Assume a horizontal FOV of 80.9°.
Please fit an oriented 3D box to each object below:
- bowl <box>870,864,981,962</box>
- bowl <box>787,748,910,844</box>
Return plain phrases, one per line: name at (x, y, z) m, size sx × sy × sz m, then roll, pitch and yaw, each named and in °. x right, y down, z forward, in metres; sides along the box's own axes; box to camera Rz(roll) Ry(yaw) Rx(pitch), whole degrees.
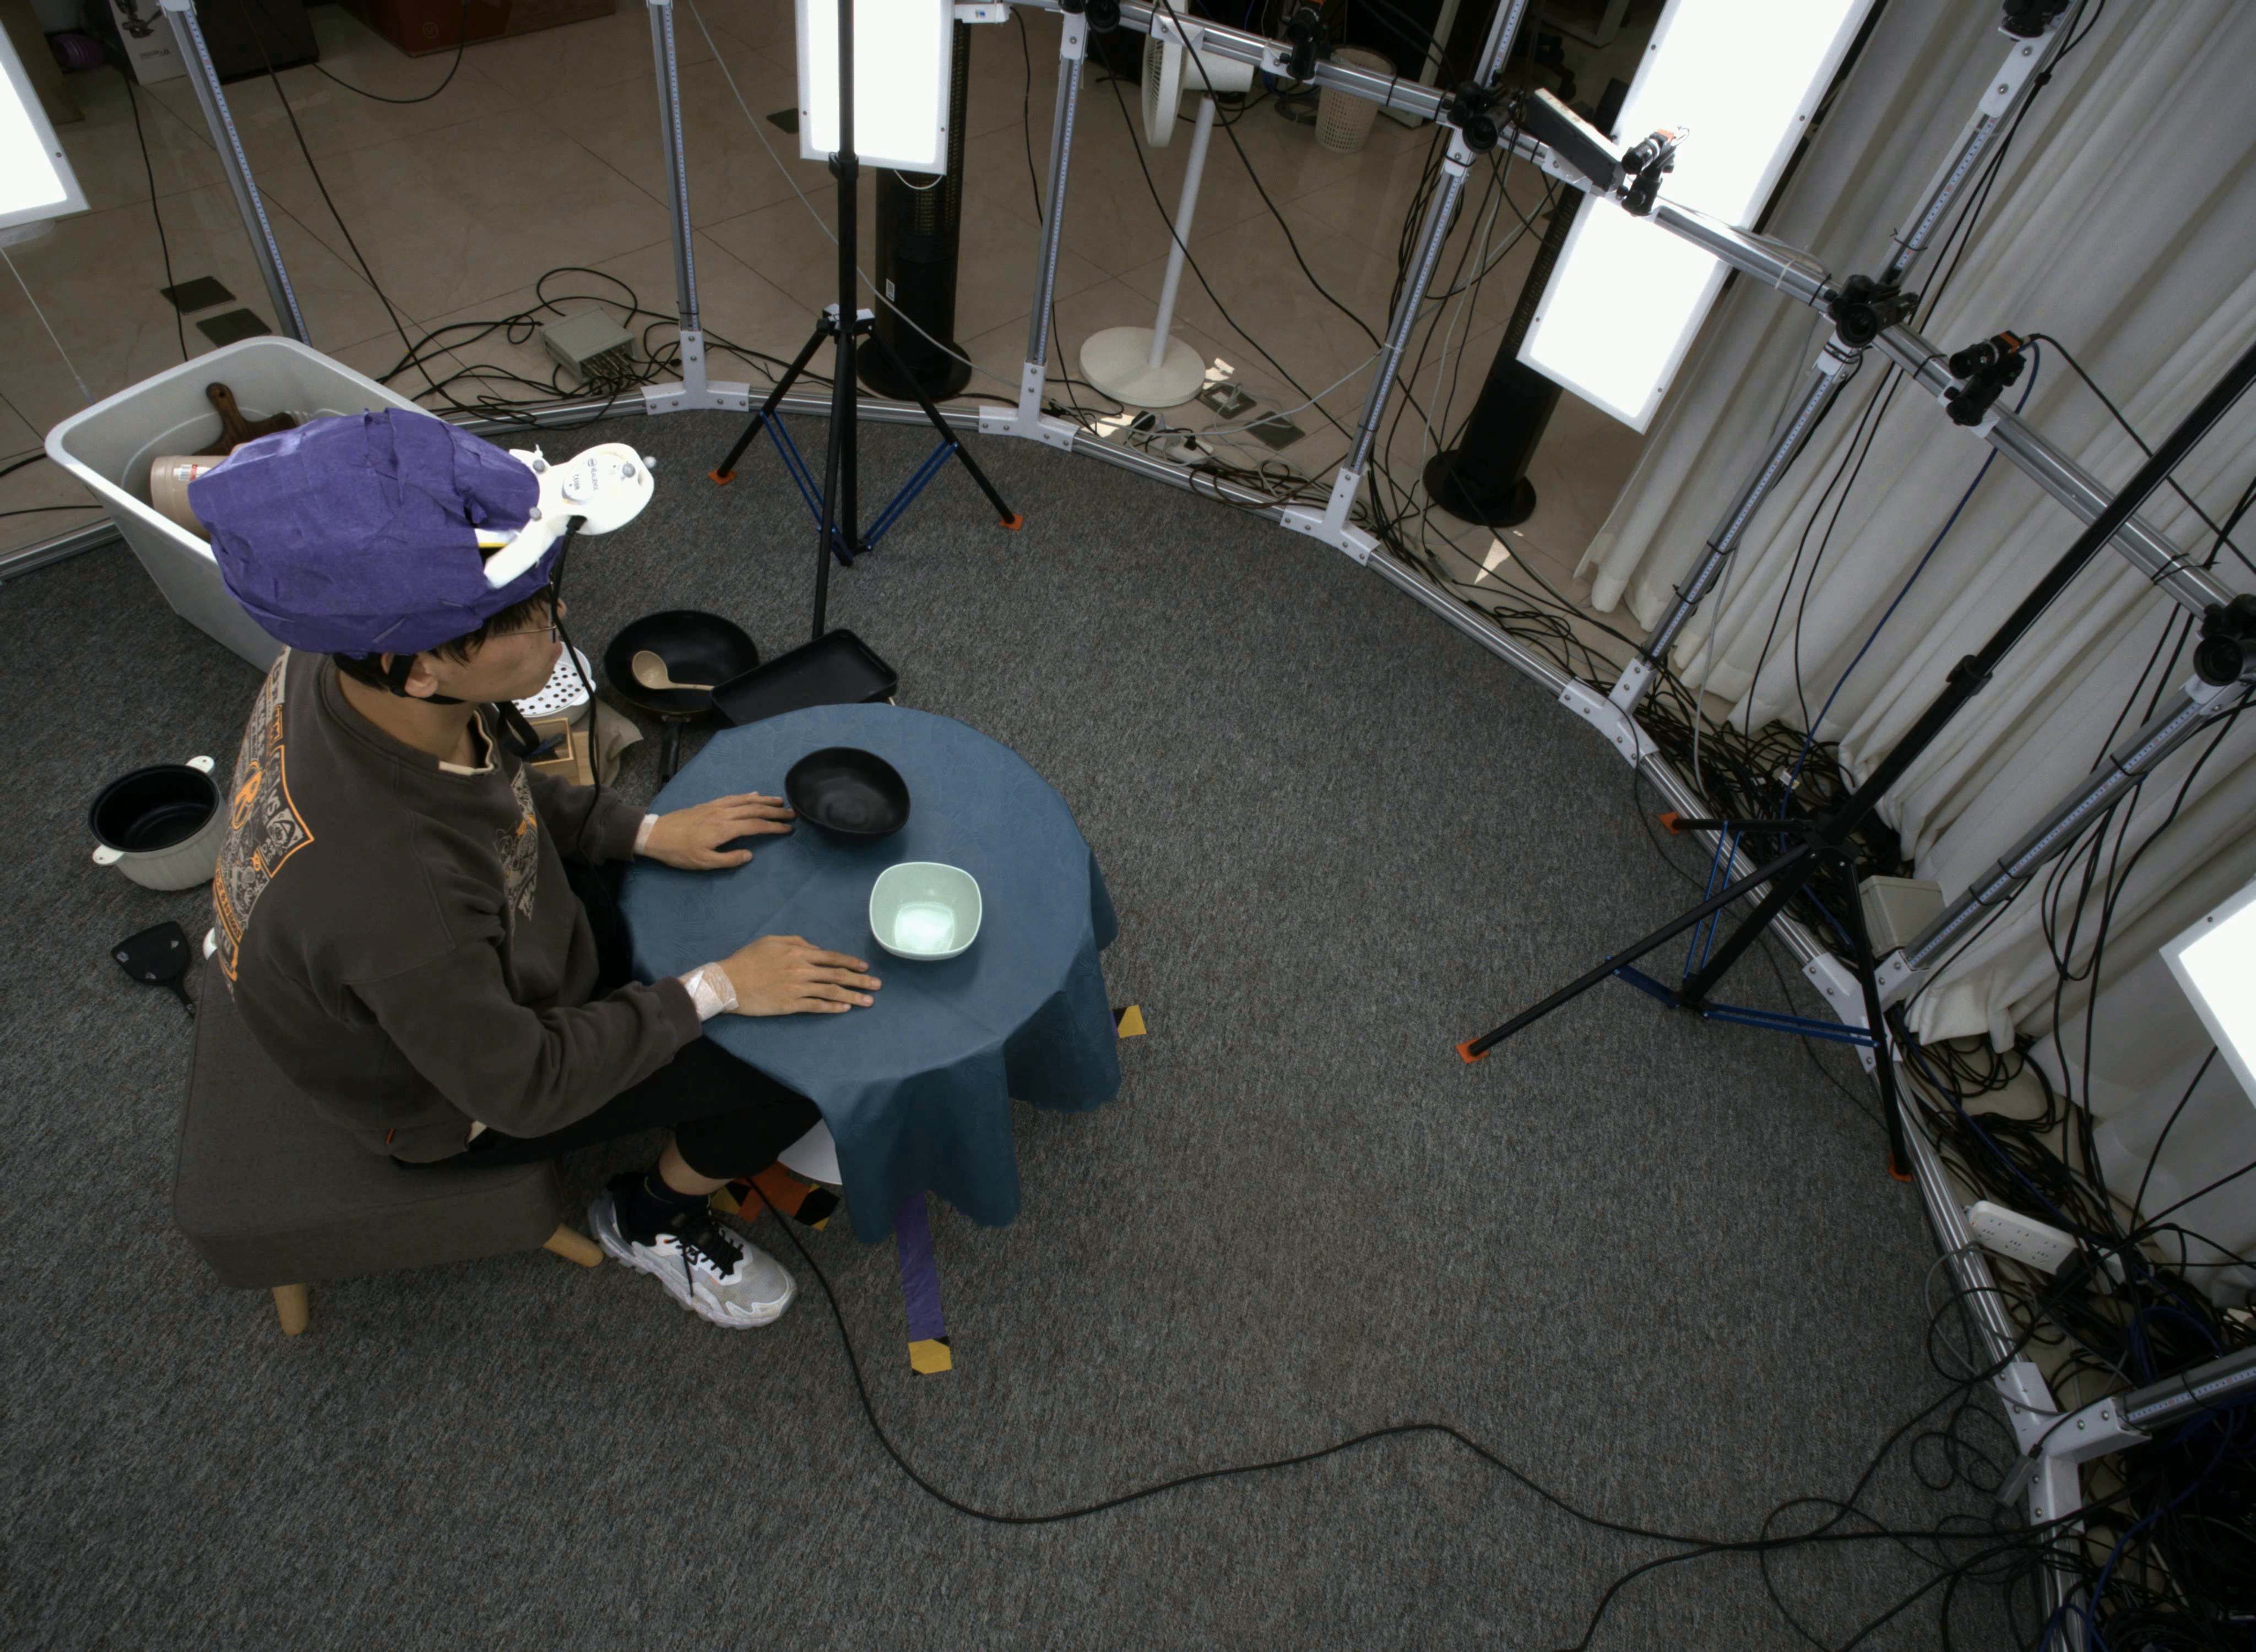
bowl at (-0.258, 0.119, 1.654) m, size 0.151 × 0.060 × 0.148 m, roll 8°, pitch 50°, yaw -8°
bowl at (-0.372, -0.030, 1.733) m, size 0.168 × 0.068 × 0.136 m, roll 22°, pitch 52°, yaw 2°
